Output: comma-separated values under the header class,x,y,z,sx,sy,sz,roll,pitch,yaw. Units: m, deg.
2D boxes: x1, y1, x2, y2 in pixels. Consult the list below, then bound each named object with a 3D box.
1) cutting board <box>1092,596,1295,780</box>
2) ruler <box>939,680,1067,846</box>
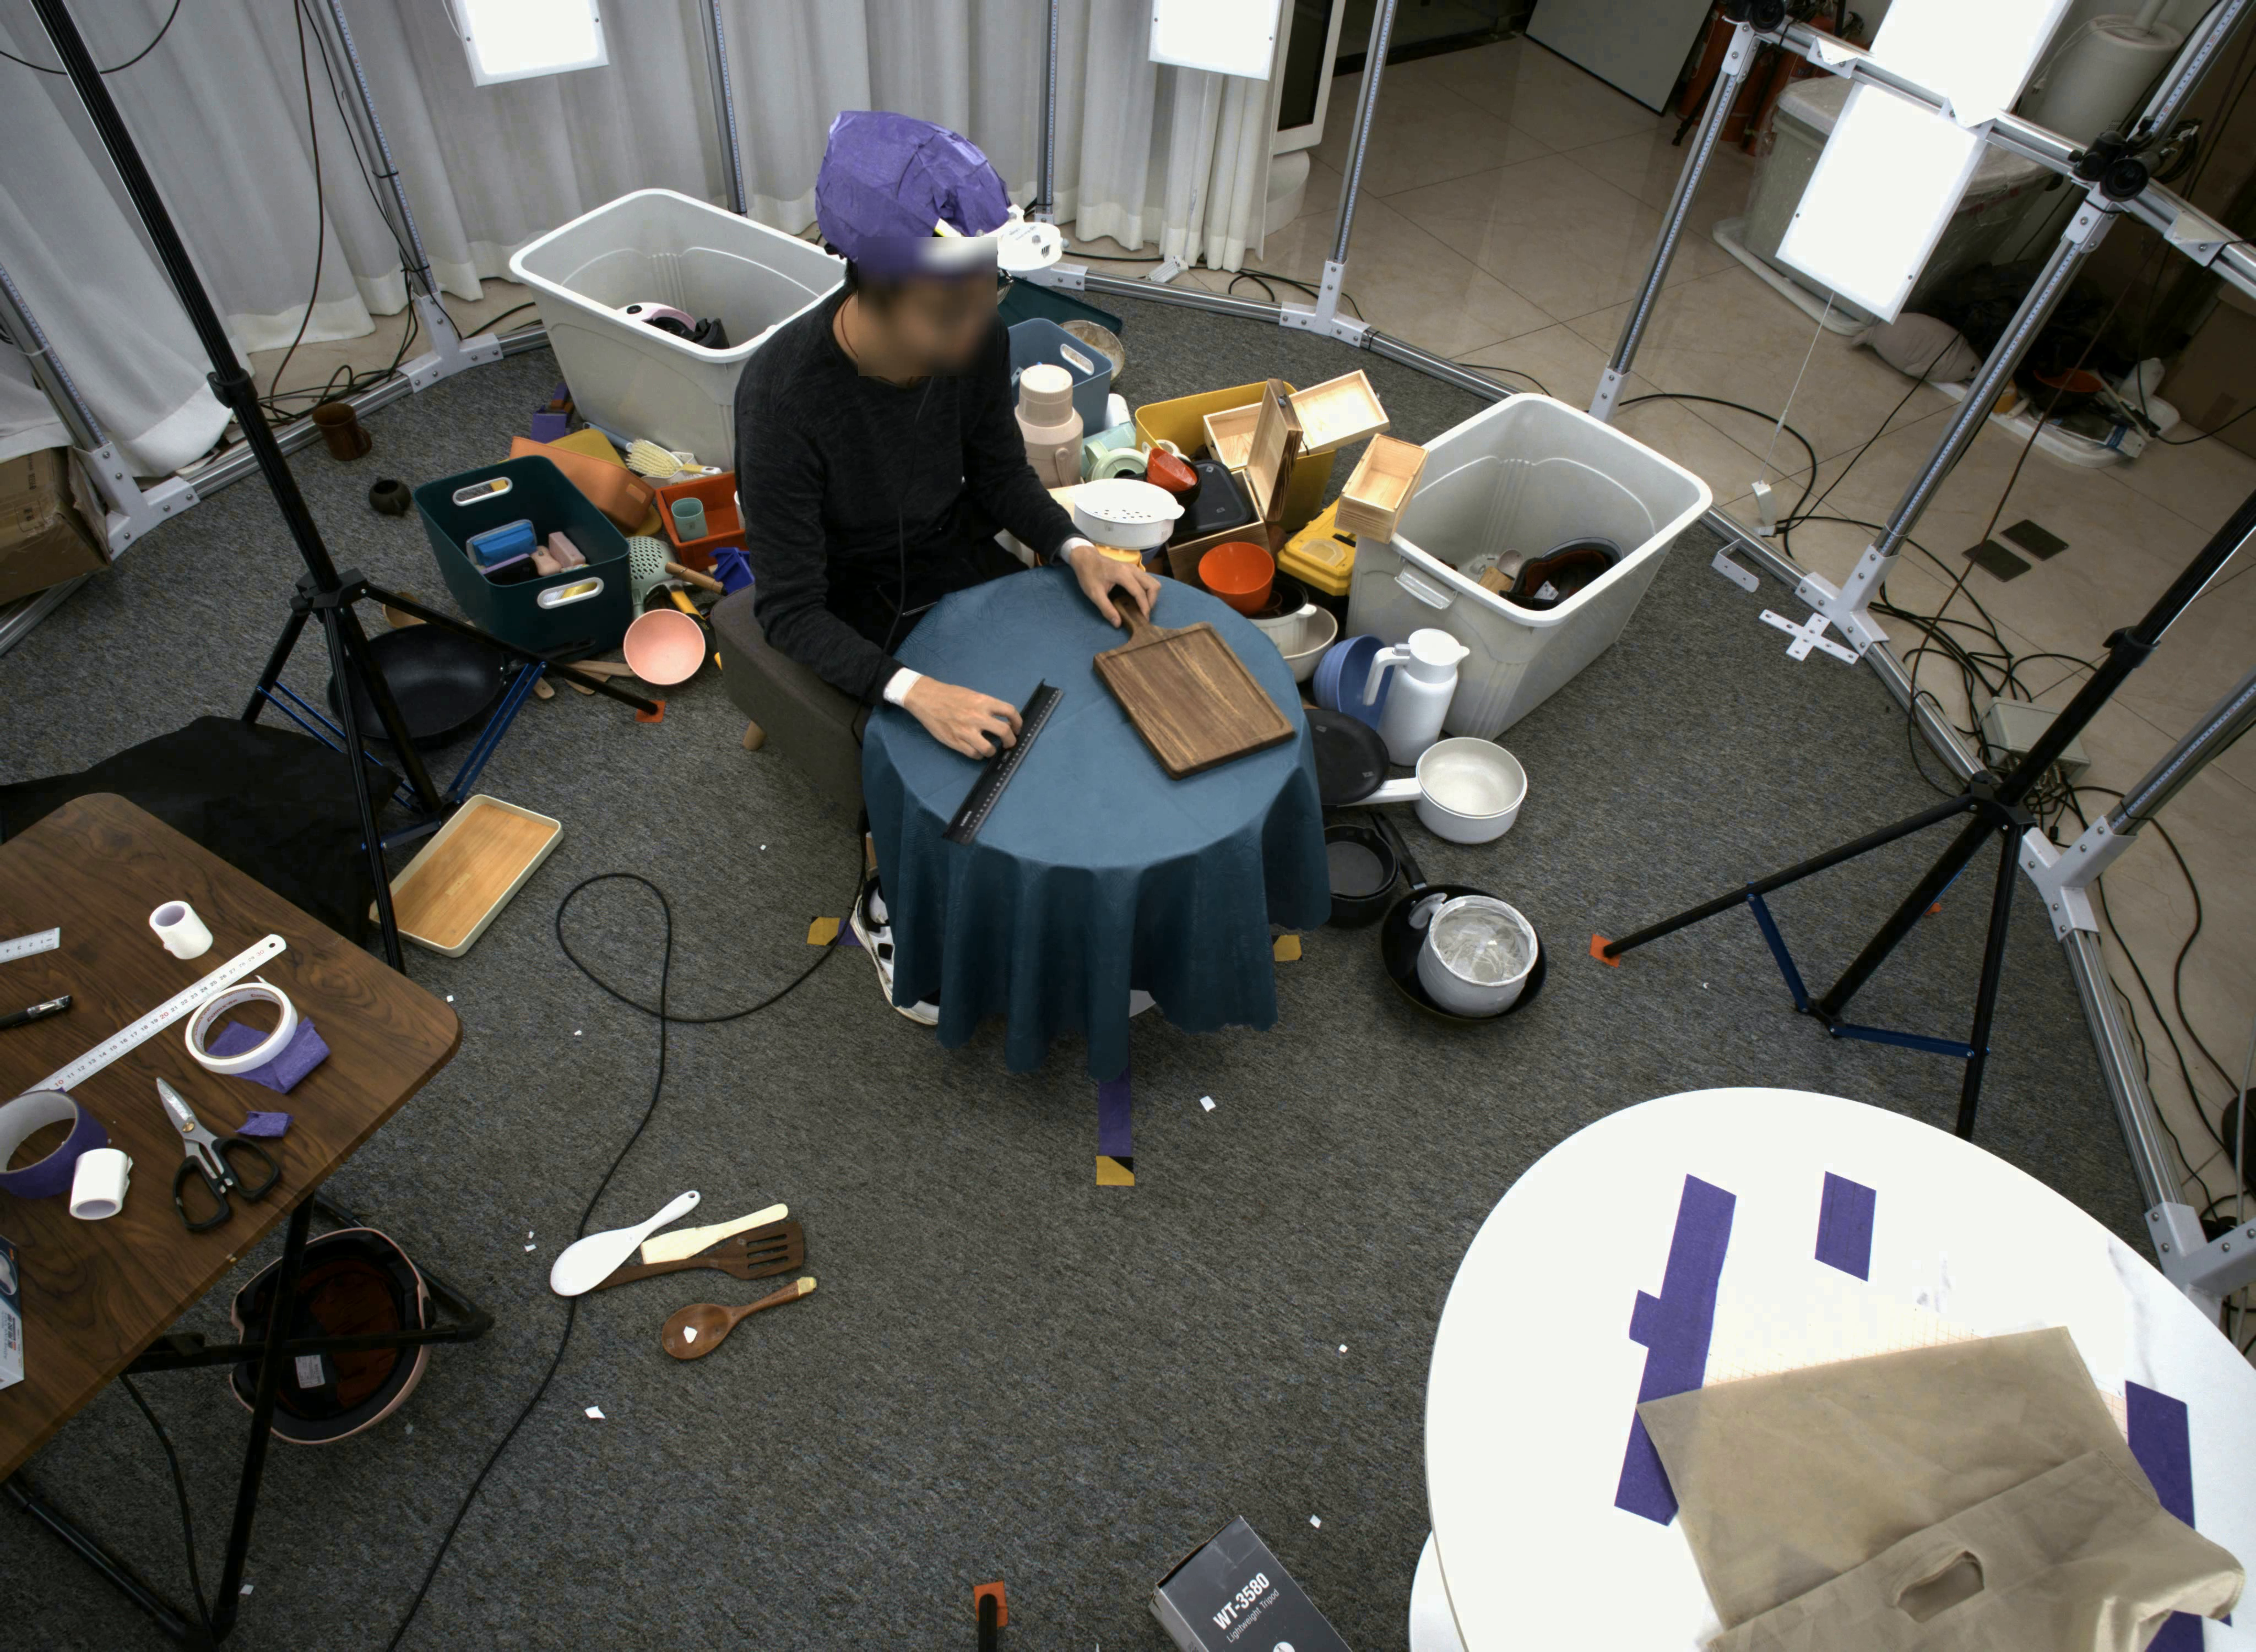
class,x,y,z,sx,sy,sz,roll,pitch,yaw
cutting board,0.067,-0.219,1.851,0.201,0.022,0.360,-20,53,-20
ruler,-0.164,-0.091,1.727,0.039,0.017,0.318,20,51,12
